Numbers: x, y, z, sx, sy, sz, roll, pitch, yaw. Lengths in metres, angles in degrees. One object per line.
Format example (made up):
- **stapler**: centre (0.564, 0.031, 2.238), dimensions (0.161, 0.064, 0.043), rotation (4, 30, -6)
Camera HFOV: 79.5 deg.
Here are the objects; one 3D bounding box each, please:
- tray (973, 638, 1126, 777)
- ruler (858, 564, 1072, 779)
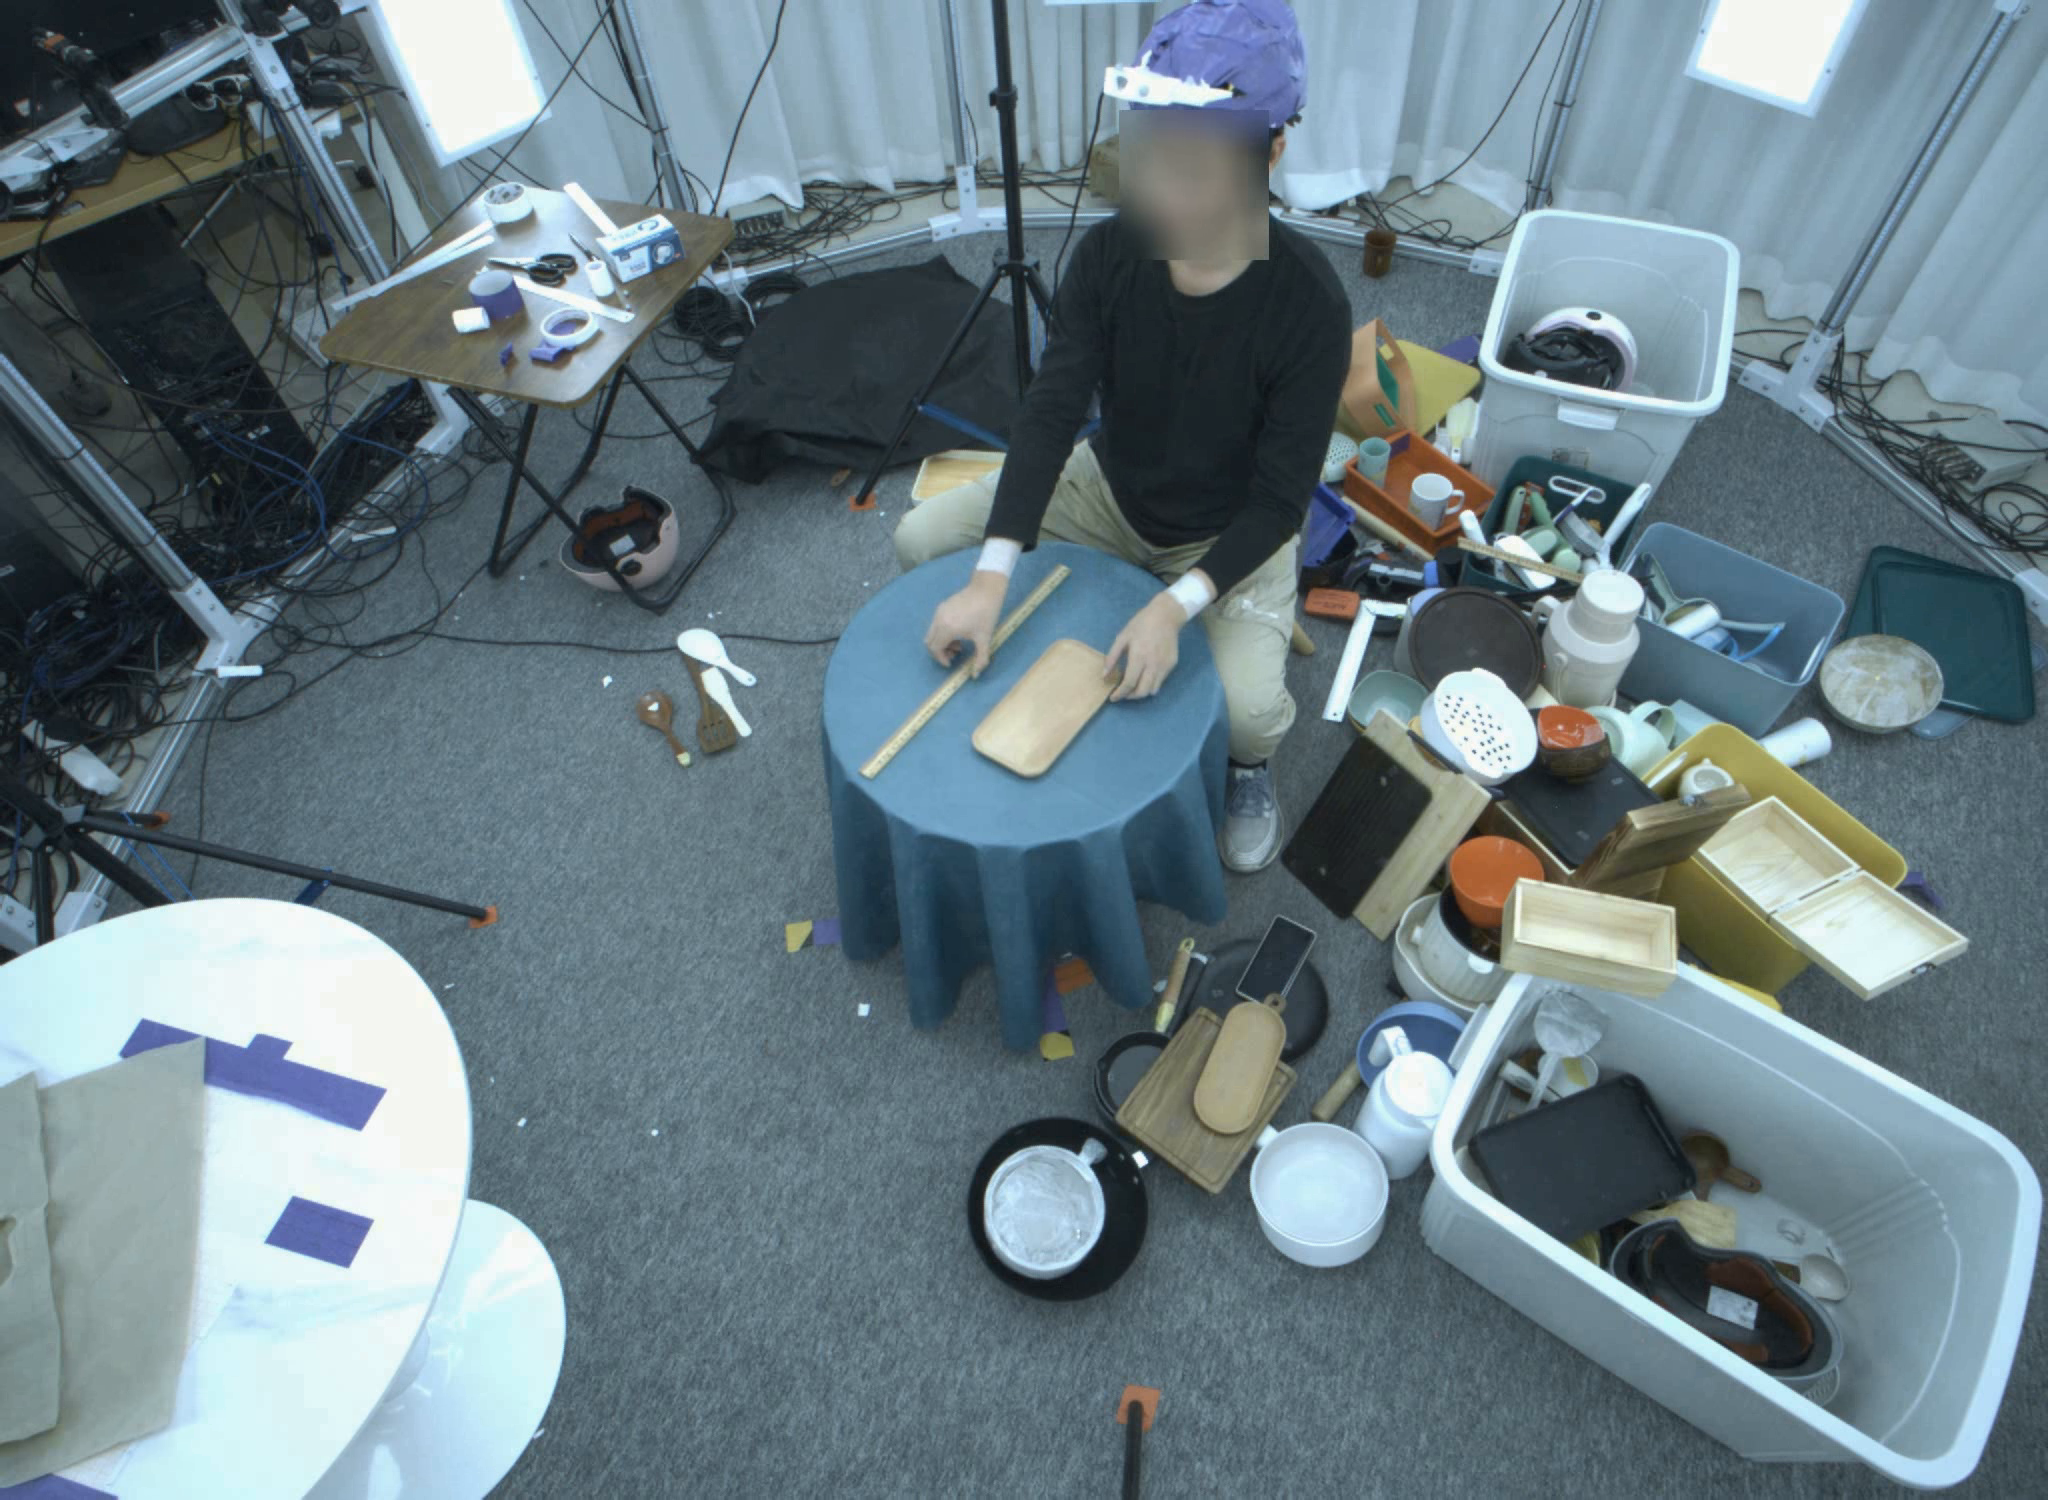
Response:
- **tray**: centre (0.039, -0.065, 1.822), dimensions (0.128, 0.023, 0.252), rotation (31, 61, 19)
- **ruler**: centre (-0.081, -0.130, 1.879), dimensions (0.026, 0.006, 0.503), rotation (32, 62, 19)
